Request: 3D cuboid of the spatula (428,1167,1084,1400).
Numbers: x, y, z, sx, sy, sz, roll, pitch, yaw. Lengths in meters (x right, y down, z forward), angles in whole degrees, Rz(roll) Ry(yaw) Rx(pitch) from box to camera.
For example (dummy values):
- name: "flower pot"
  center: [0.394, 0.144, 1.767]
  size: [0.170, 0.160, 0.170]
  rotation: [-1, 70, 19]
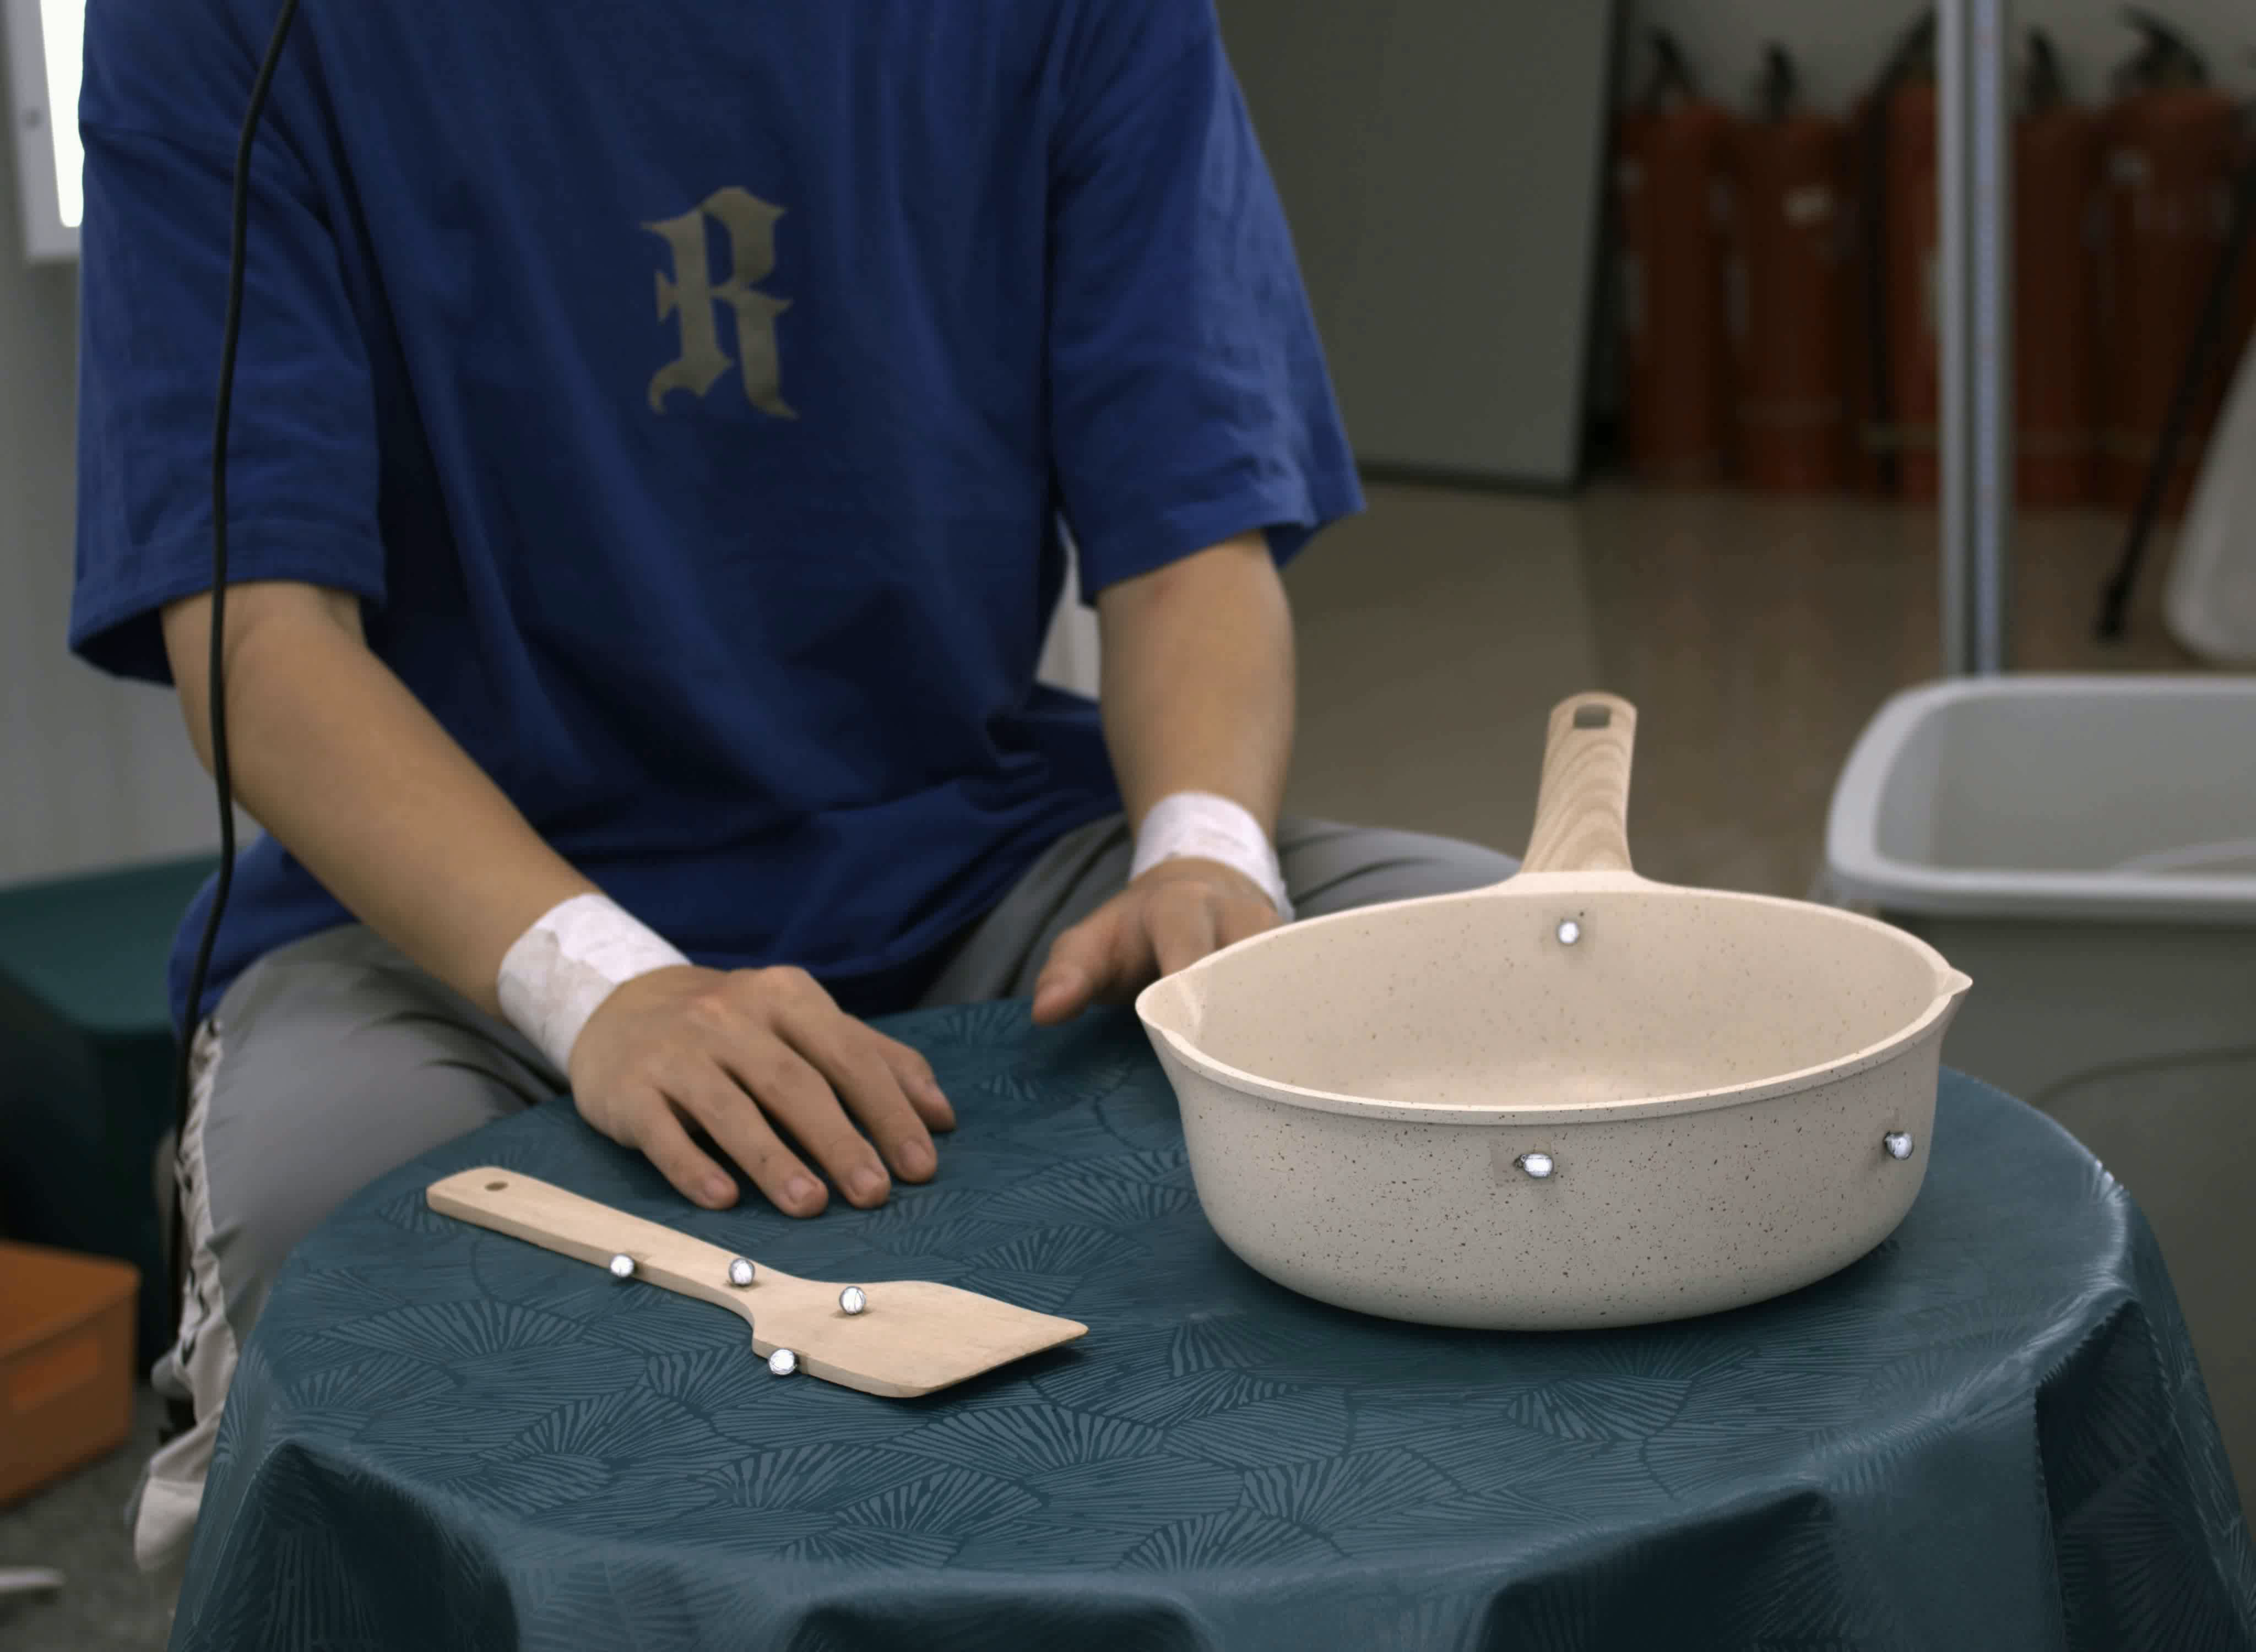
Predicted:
- name: "spatula"
  center: [-0.132, 0.141, 1.708]
  size: [0.071, 0.011, 0.296]
  rotation: [-17, 19, -38]

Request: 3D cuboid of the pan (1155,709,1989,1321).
- name: "pan"
  center: [0.150, 0.058, 1.774]
  size: [0.261, 0.103, 0.434]
  rotation: [-4, 13, 7]
